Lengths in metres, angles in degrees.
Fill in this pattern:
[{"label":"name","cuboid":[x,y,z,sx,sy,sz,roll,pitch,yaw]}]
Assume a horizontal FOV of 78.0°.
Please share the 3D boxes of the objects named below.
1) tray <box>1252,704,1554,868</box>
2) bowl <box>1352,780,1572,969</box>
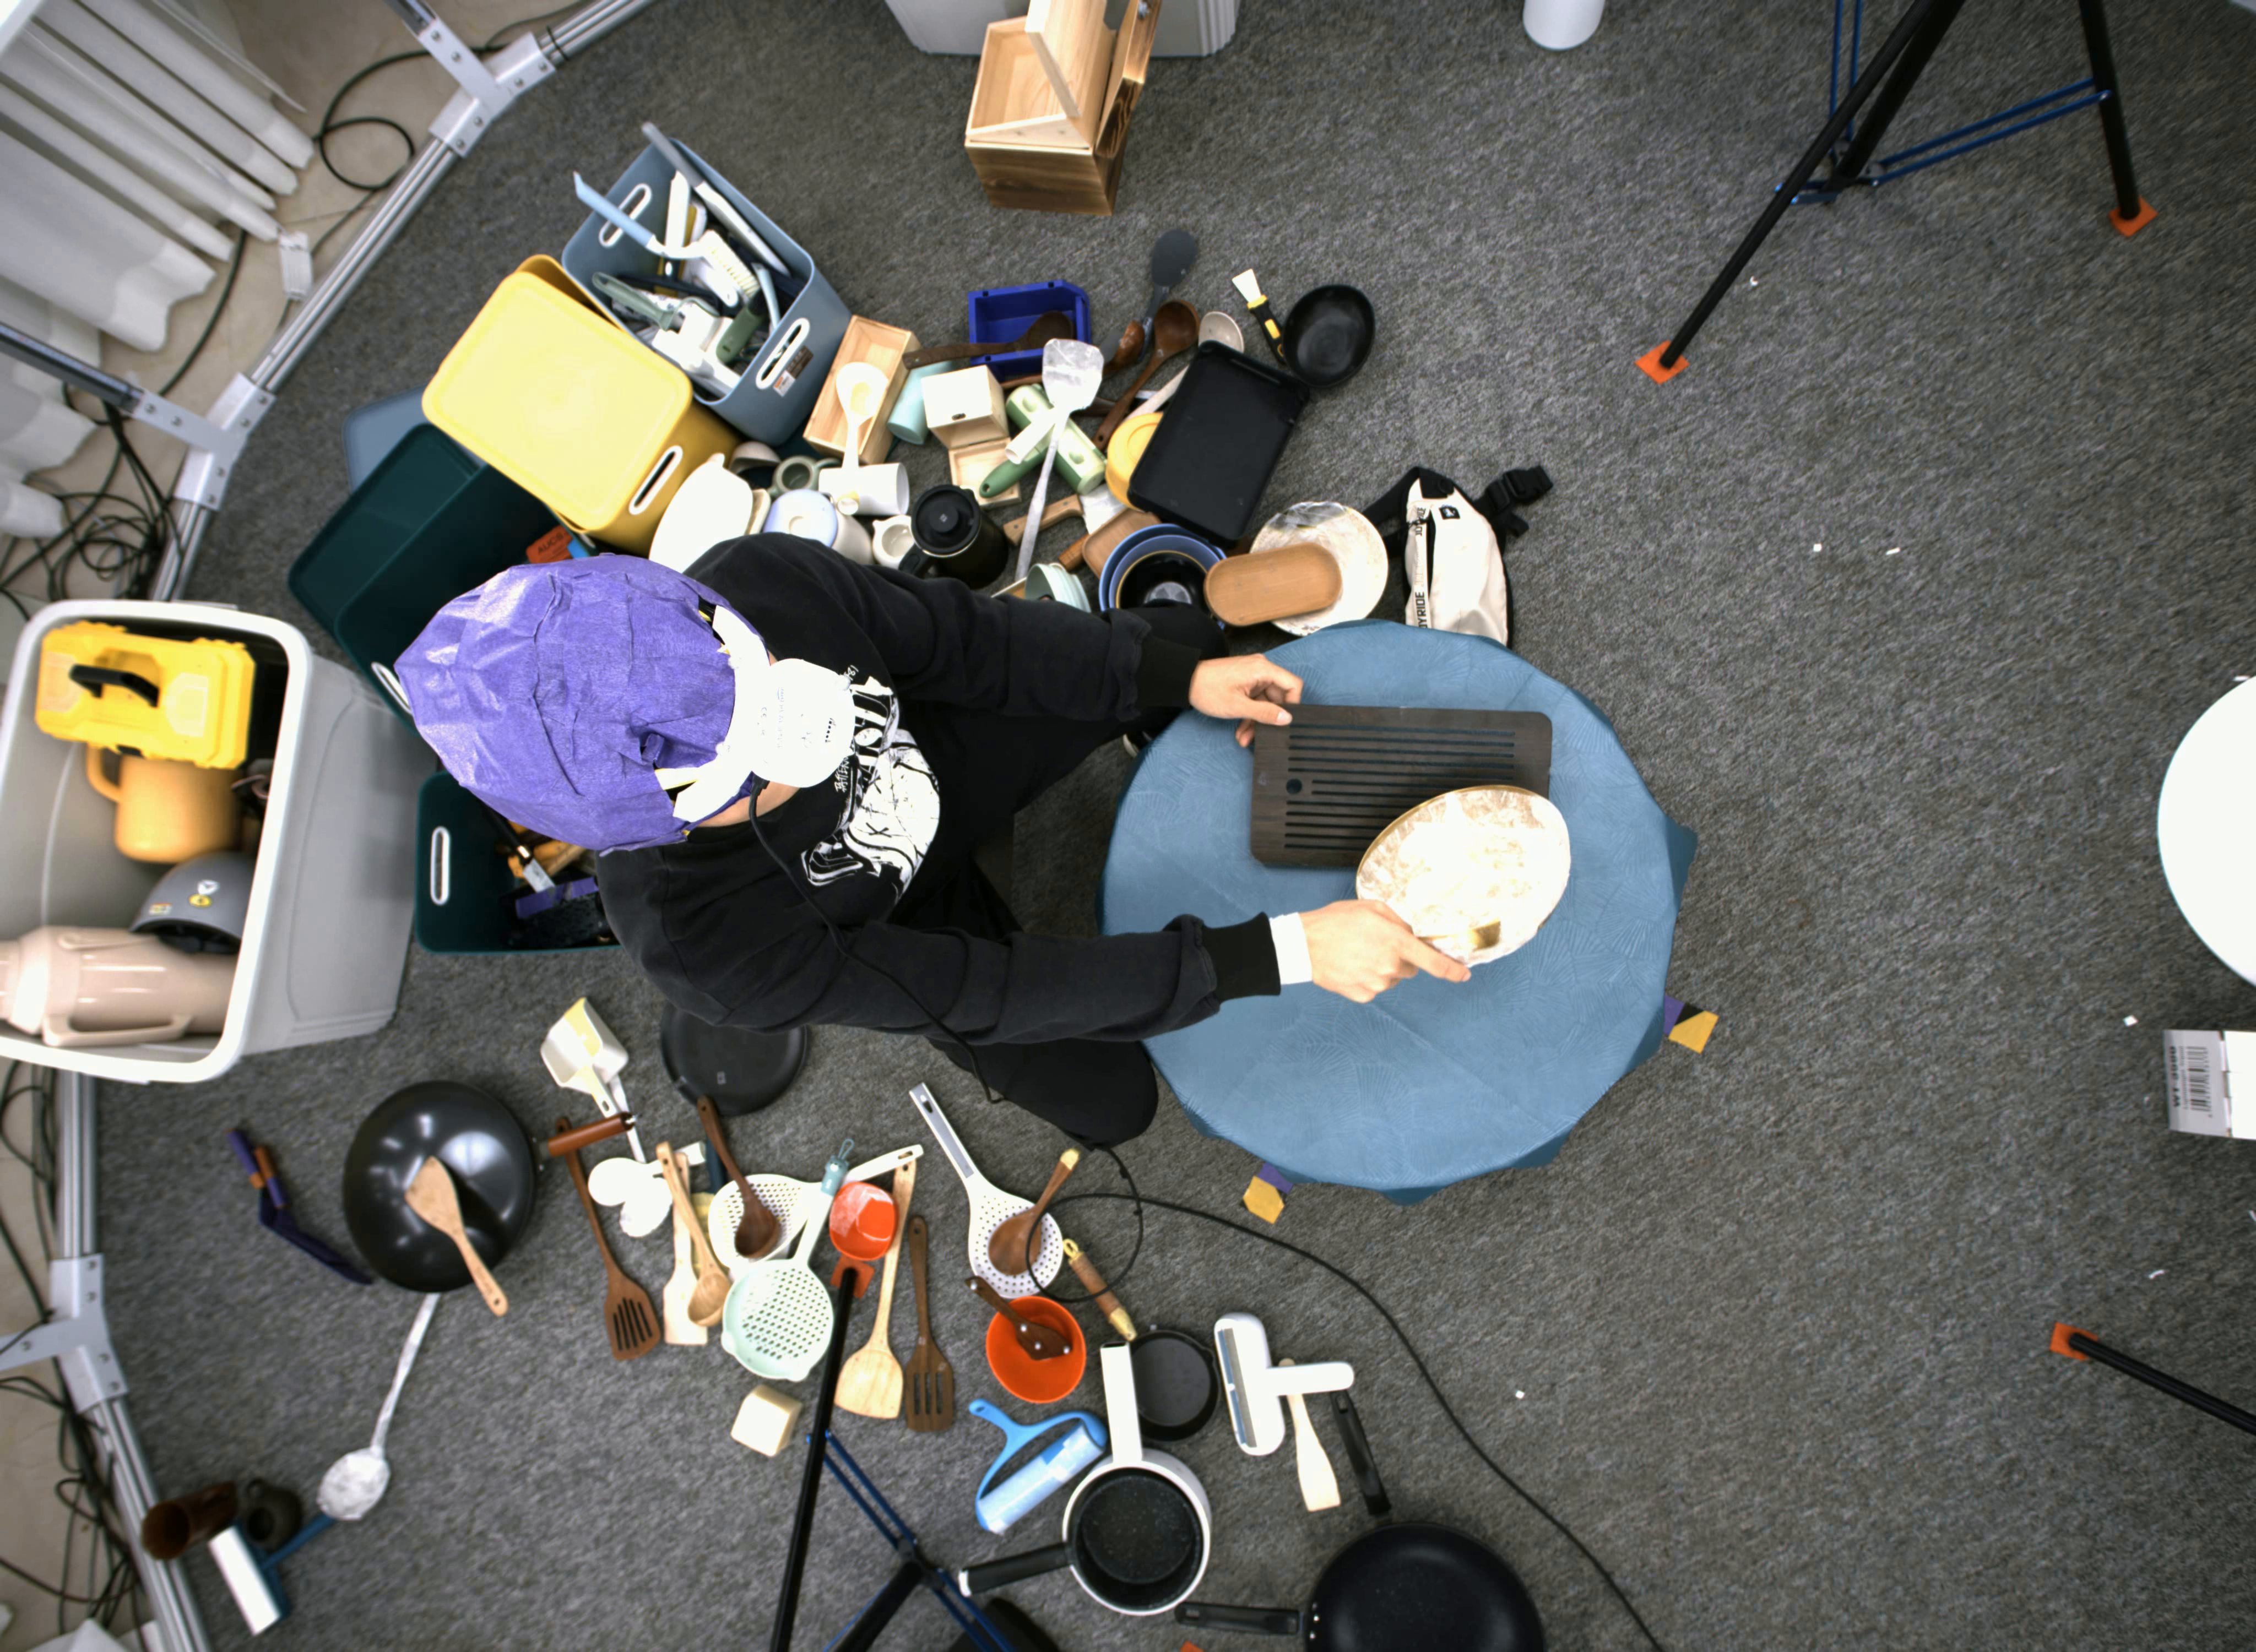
[{"label":"tray","cuboid":[0.286,-0.040,1.442,0.307,0.018,0.171,2,98,9]},{"label":"bowl","cuboid":[0.323,0.060,1.301,0.216,0.210,0.096,-31,124,6]}]
